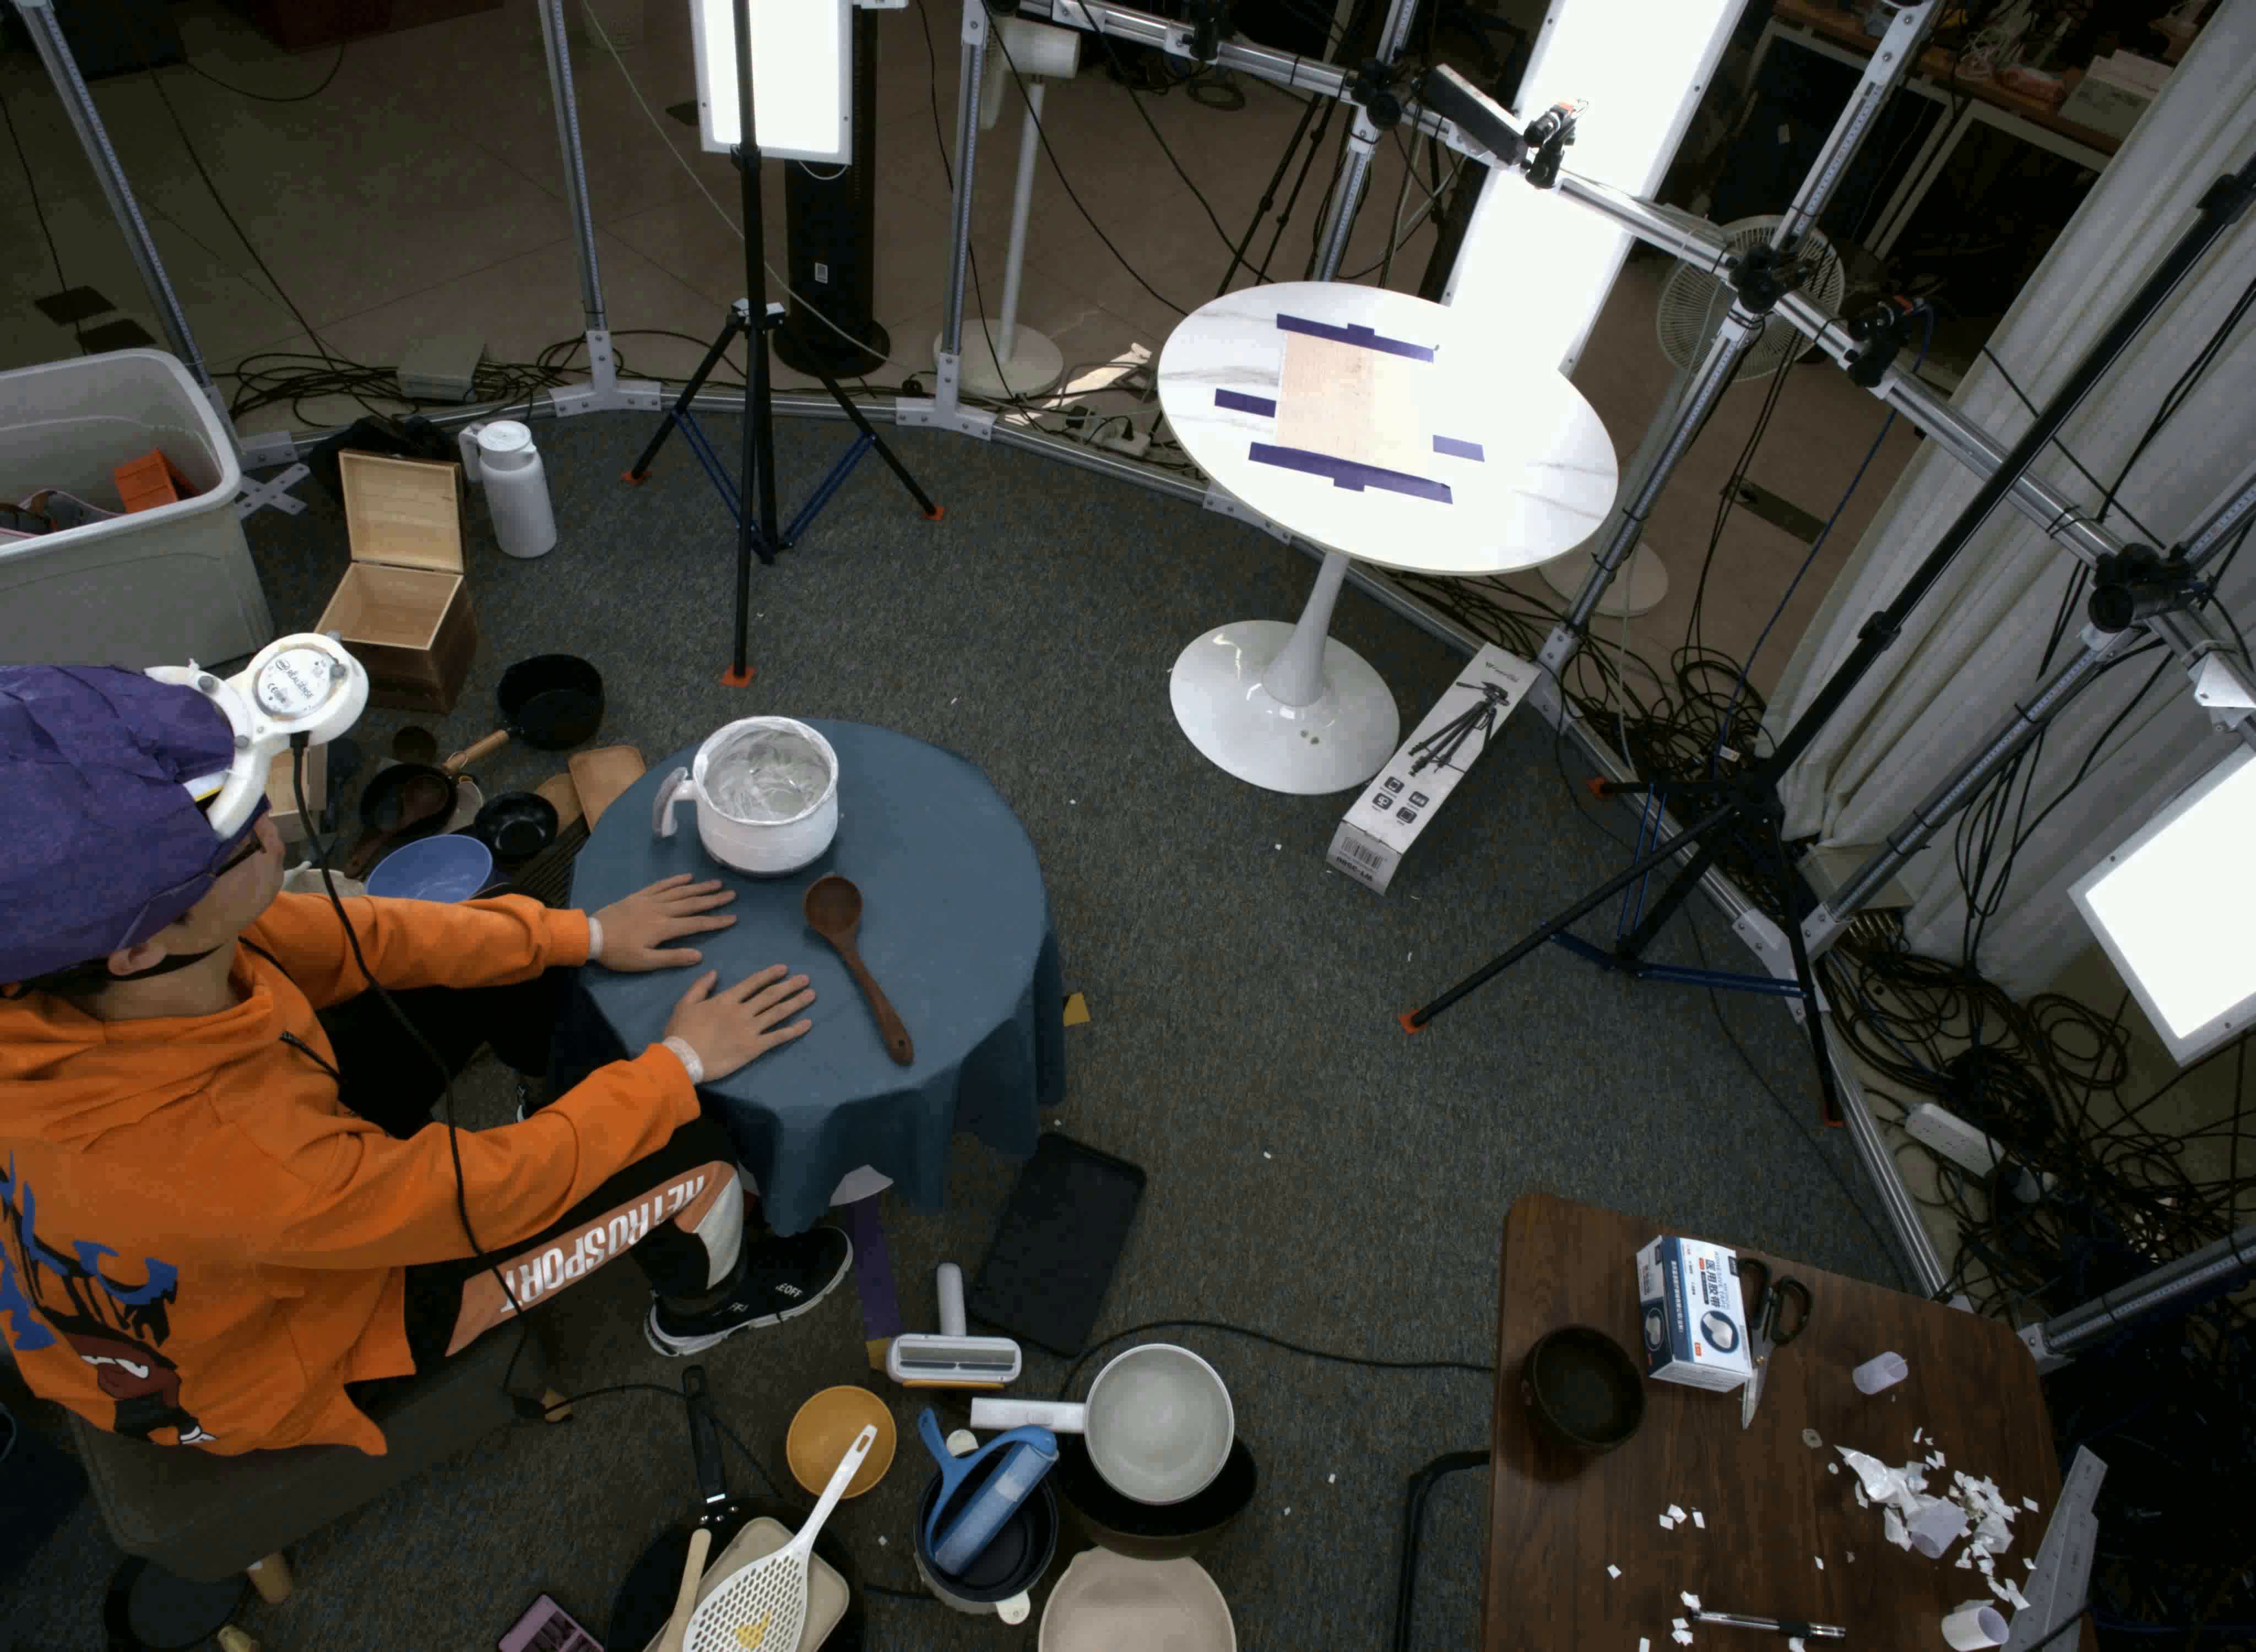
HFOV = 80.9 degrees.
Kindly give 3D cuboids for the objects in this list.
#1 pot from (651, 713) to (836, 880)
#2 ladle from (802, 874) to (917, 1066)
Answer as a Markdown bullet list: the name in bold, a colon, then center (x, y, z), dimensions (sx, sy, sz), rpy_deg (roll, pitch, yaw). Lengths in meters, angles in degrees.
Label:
- **pot**: center (-0.486, -0.032, 1.632), dimensions (0.234, 0.139, 0.174), rpy_deg (-4, 54, -18)
- **ladle**: center (-0.319, 0.169, 1.574), dimensions (0.077, 0.066, 0.254), rpy_deg (-22, 62, -25)
